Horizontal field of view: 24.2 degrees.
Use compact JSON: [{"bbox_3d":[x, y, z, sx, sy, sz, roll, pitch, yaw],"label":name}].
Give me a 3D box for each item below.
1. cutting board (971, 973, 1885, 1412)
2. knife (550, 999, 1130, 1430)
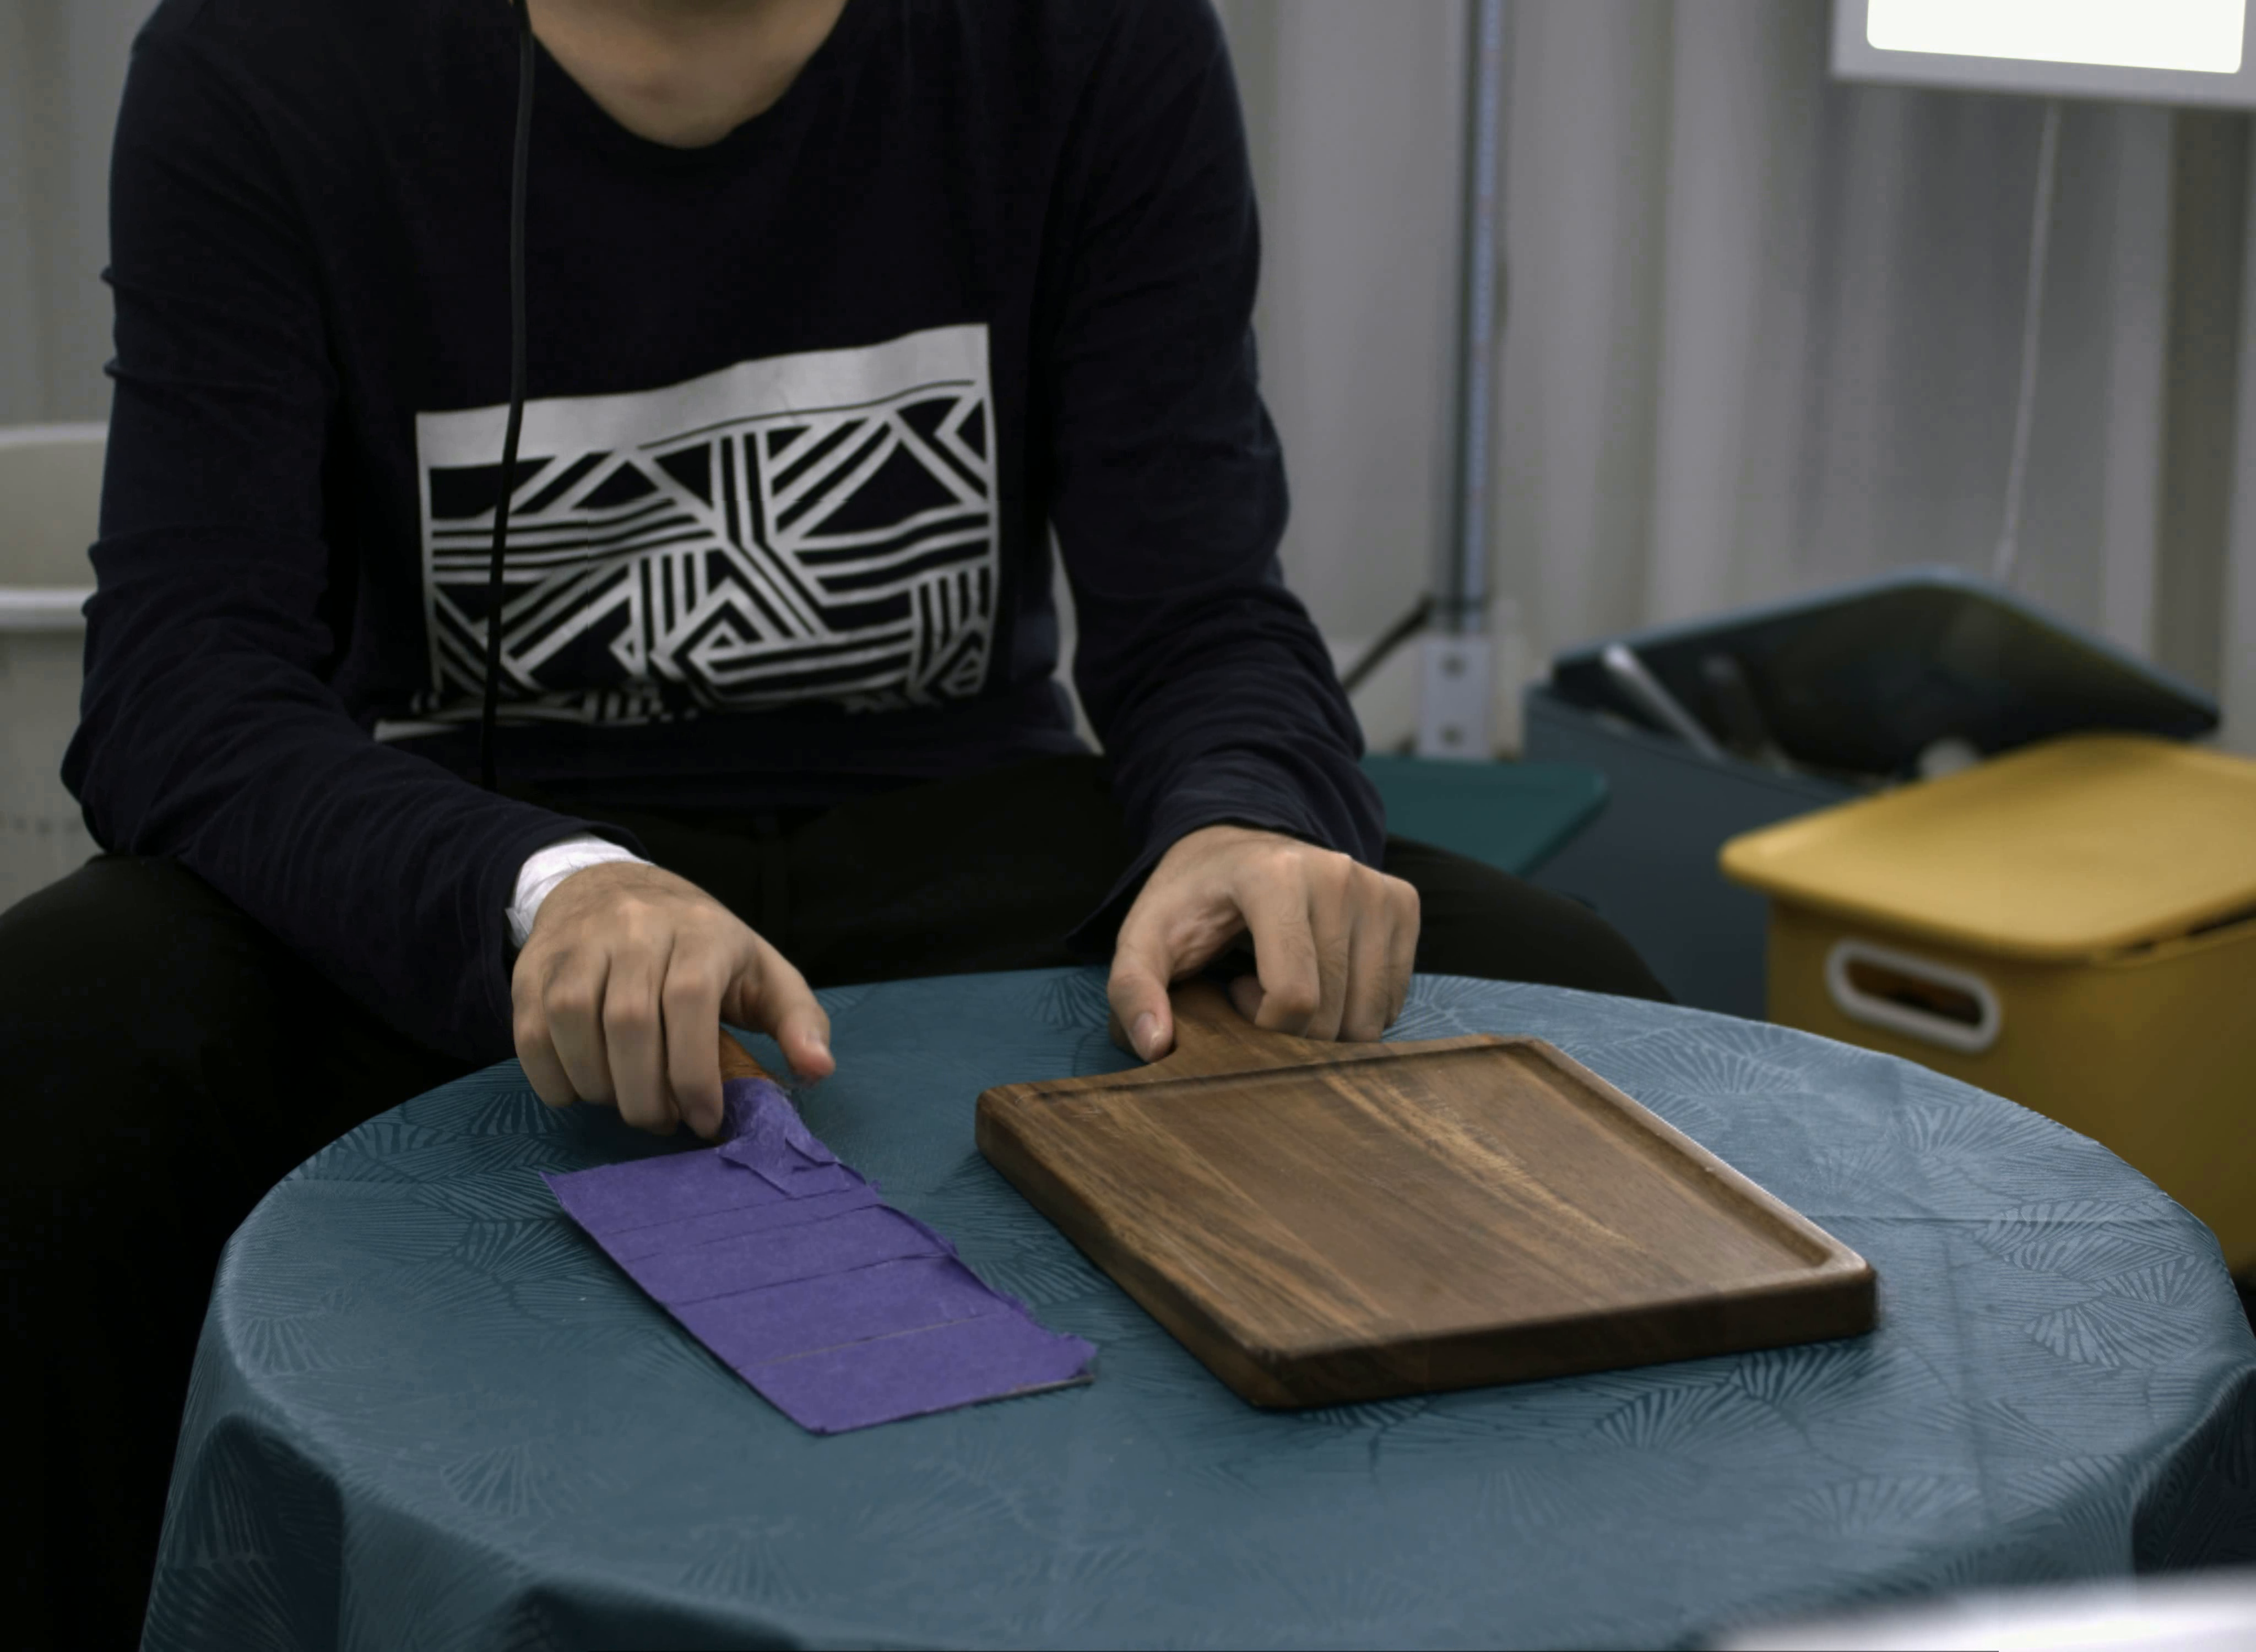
[{"bbox_3d":[0.067,0.102,1.629,0.201,0.023,0.348,-5,16,-20],"label":"cutting board"},{"bbox_3d":[-0.115,0.112,1.573,0.104,0.032,0.311,-8,18,-27],"label":"knife"}]
